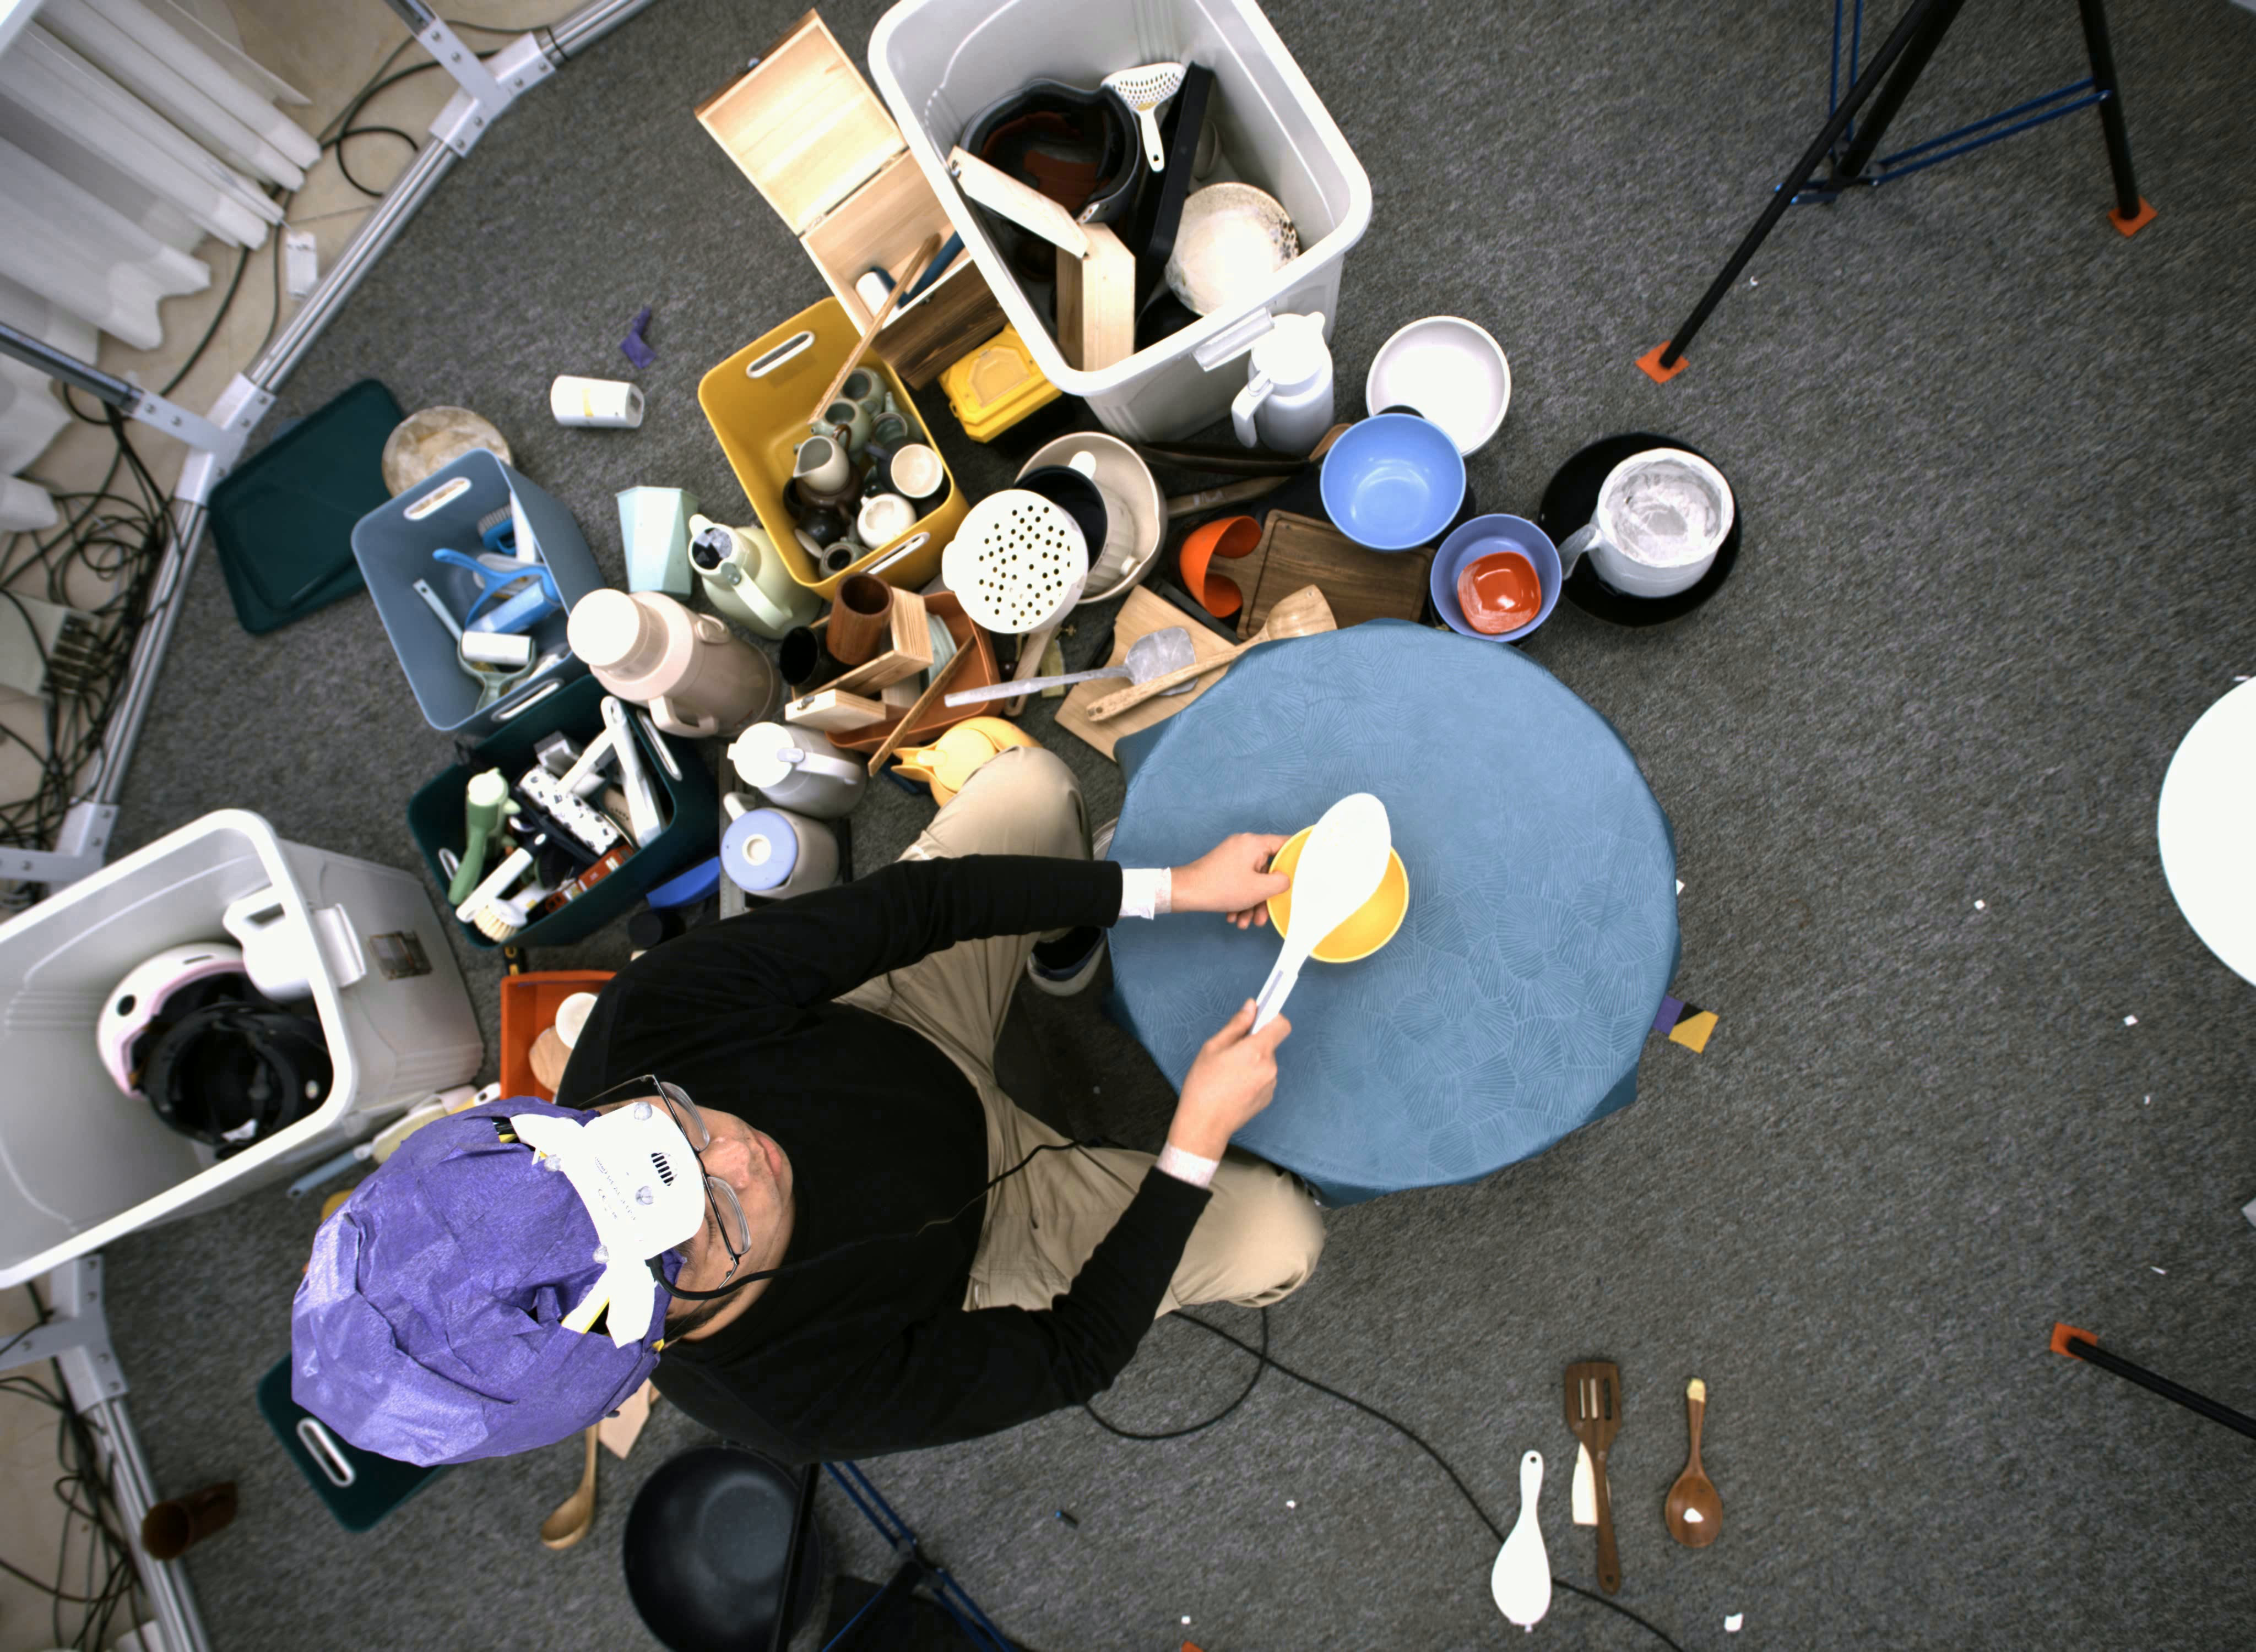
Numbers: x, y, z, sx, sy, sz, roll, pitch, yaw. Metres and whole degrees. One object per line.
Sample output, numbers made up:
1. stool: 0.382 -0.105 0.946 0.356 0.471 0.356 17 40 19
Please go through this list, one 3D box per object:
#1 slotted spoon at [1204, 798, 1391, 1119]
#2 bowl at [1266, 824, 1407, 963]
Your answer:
1. slotted spoon: 0.164 0.132 1.370 0.046 0.135 0.350 30 93 -25
2. bowl: 0.216 0.071 1.441 0.146 0.060 0.144 -1 83 9
